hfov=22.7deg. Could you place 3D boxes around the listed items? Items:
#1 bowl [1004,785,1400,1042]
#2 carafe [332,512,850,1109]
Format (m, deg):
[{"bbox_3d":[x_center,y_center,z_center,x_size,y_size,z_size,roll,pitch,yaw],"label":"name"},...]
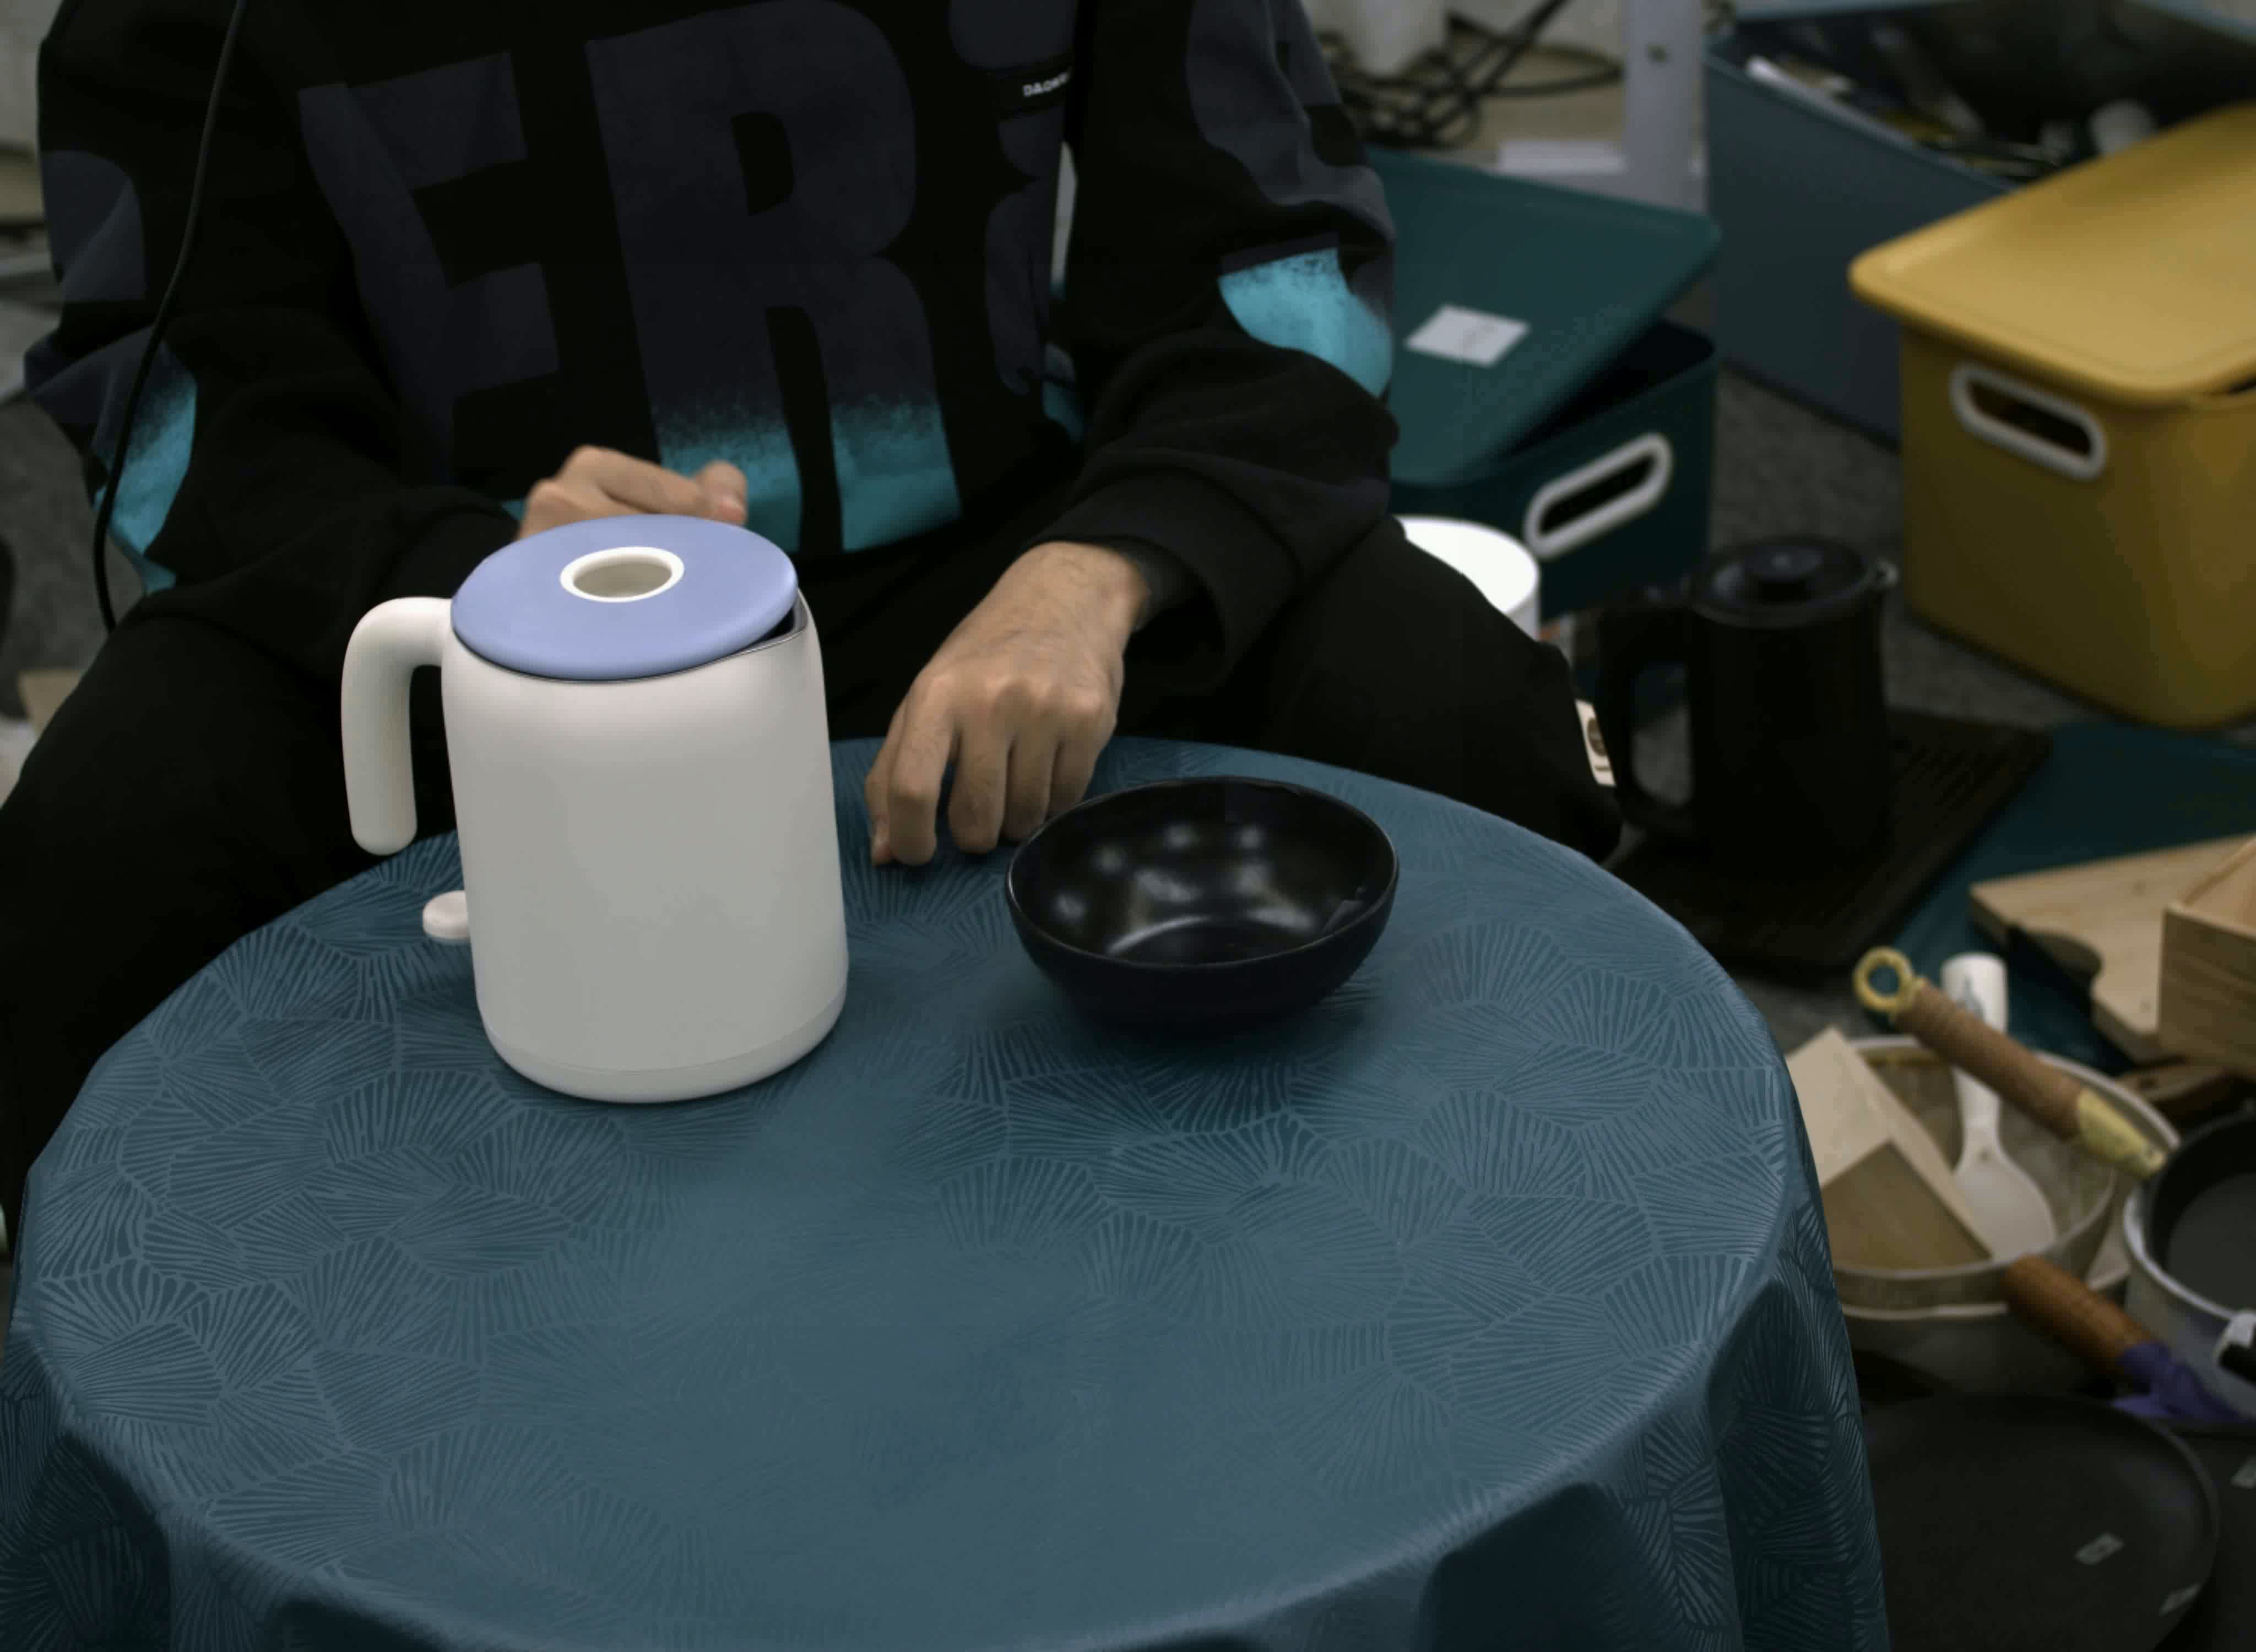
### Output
[{"bbox_3d":[0.027,0.038,1.968,0.139,0.049,0.142,-3,26,2],"label":"bowl"},{"bbox_3d":[-0.189,-0.008,1.946,0.189,0.181,0.134,5,27,21],"label":"carafe"}]
